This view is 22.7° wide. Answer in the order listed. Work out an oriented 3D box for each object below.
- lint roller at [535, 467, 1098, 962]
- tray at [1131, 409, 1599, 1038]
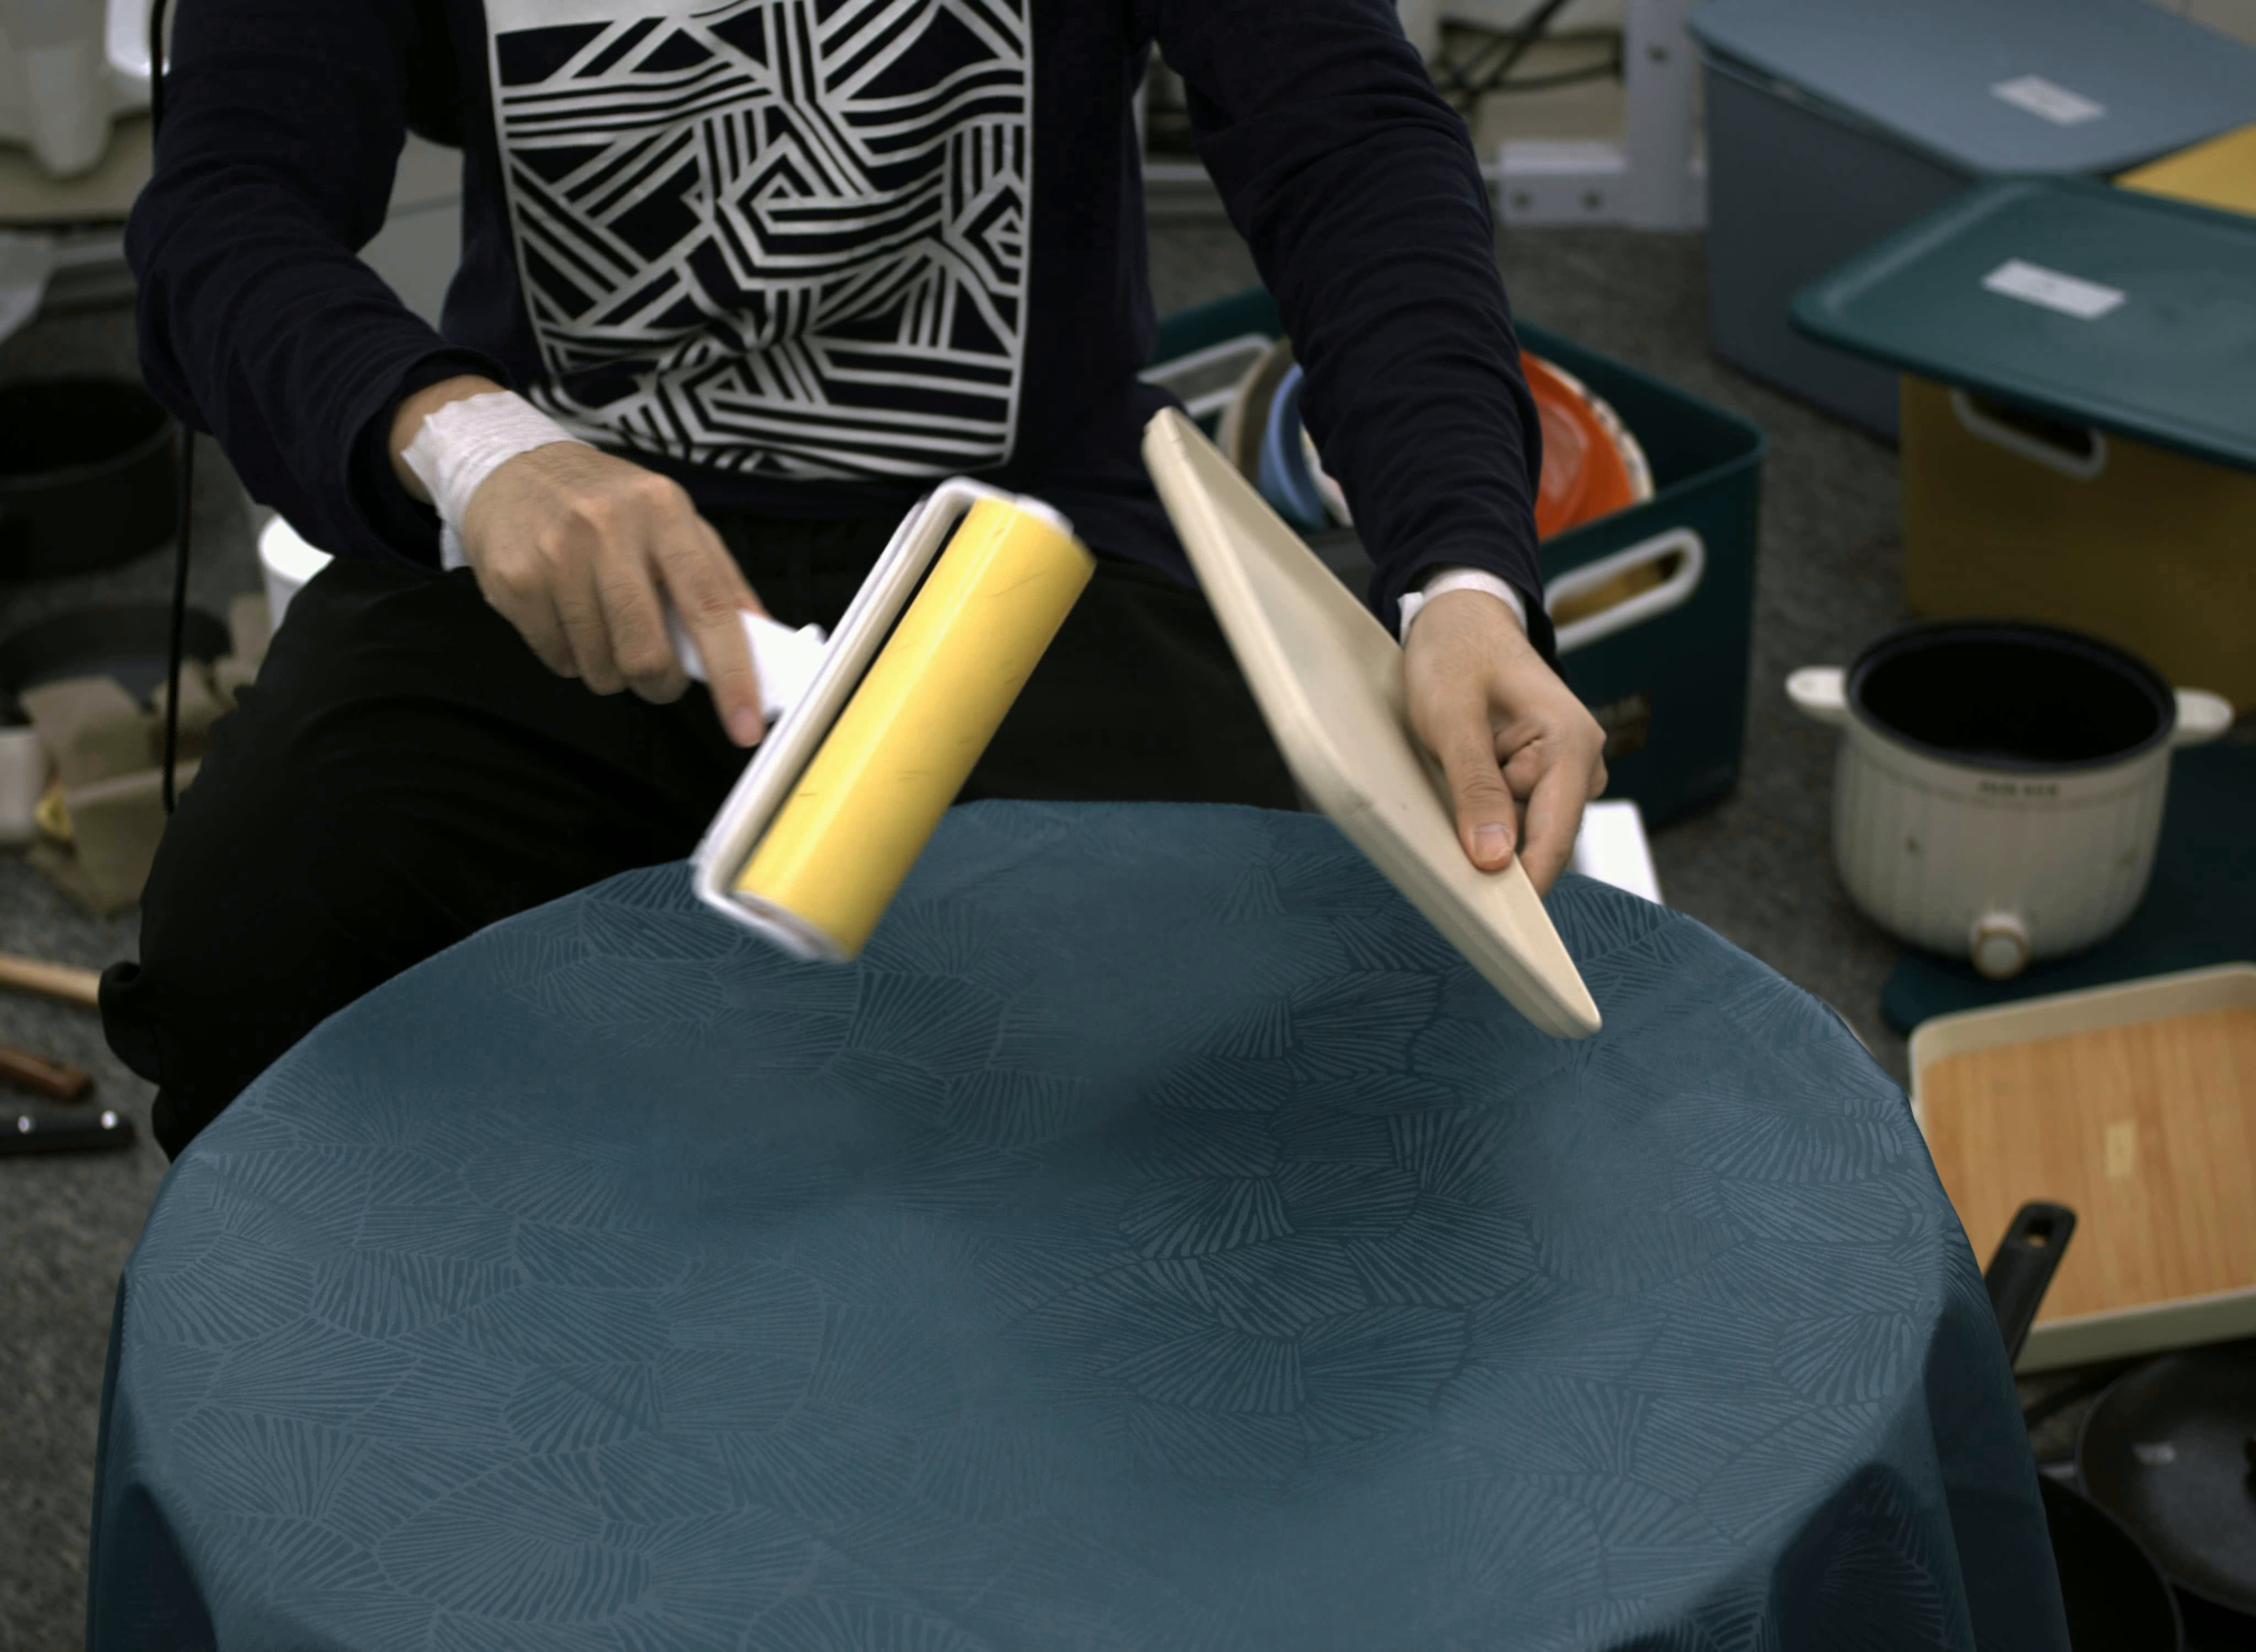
[{"bbox_3d":[-0.127,-0.060,1.917,0.191,0.051,0.176,22,76,21],"label":"lint roller"},{"bbox_3d":[0.074,-0.033,1.858,0.017,0.170,0.243,-39,34,11],"label":"tray"}]
